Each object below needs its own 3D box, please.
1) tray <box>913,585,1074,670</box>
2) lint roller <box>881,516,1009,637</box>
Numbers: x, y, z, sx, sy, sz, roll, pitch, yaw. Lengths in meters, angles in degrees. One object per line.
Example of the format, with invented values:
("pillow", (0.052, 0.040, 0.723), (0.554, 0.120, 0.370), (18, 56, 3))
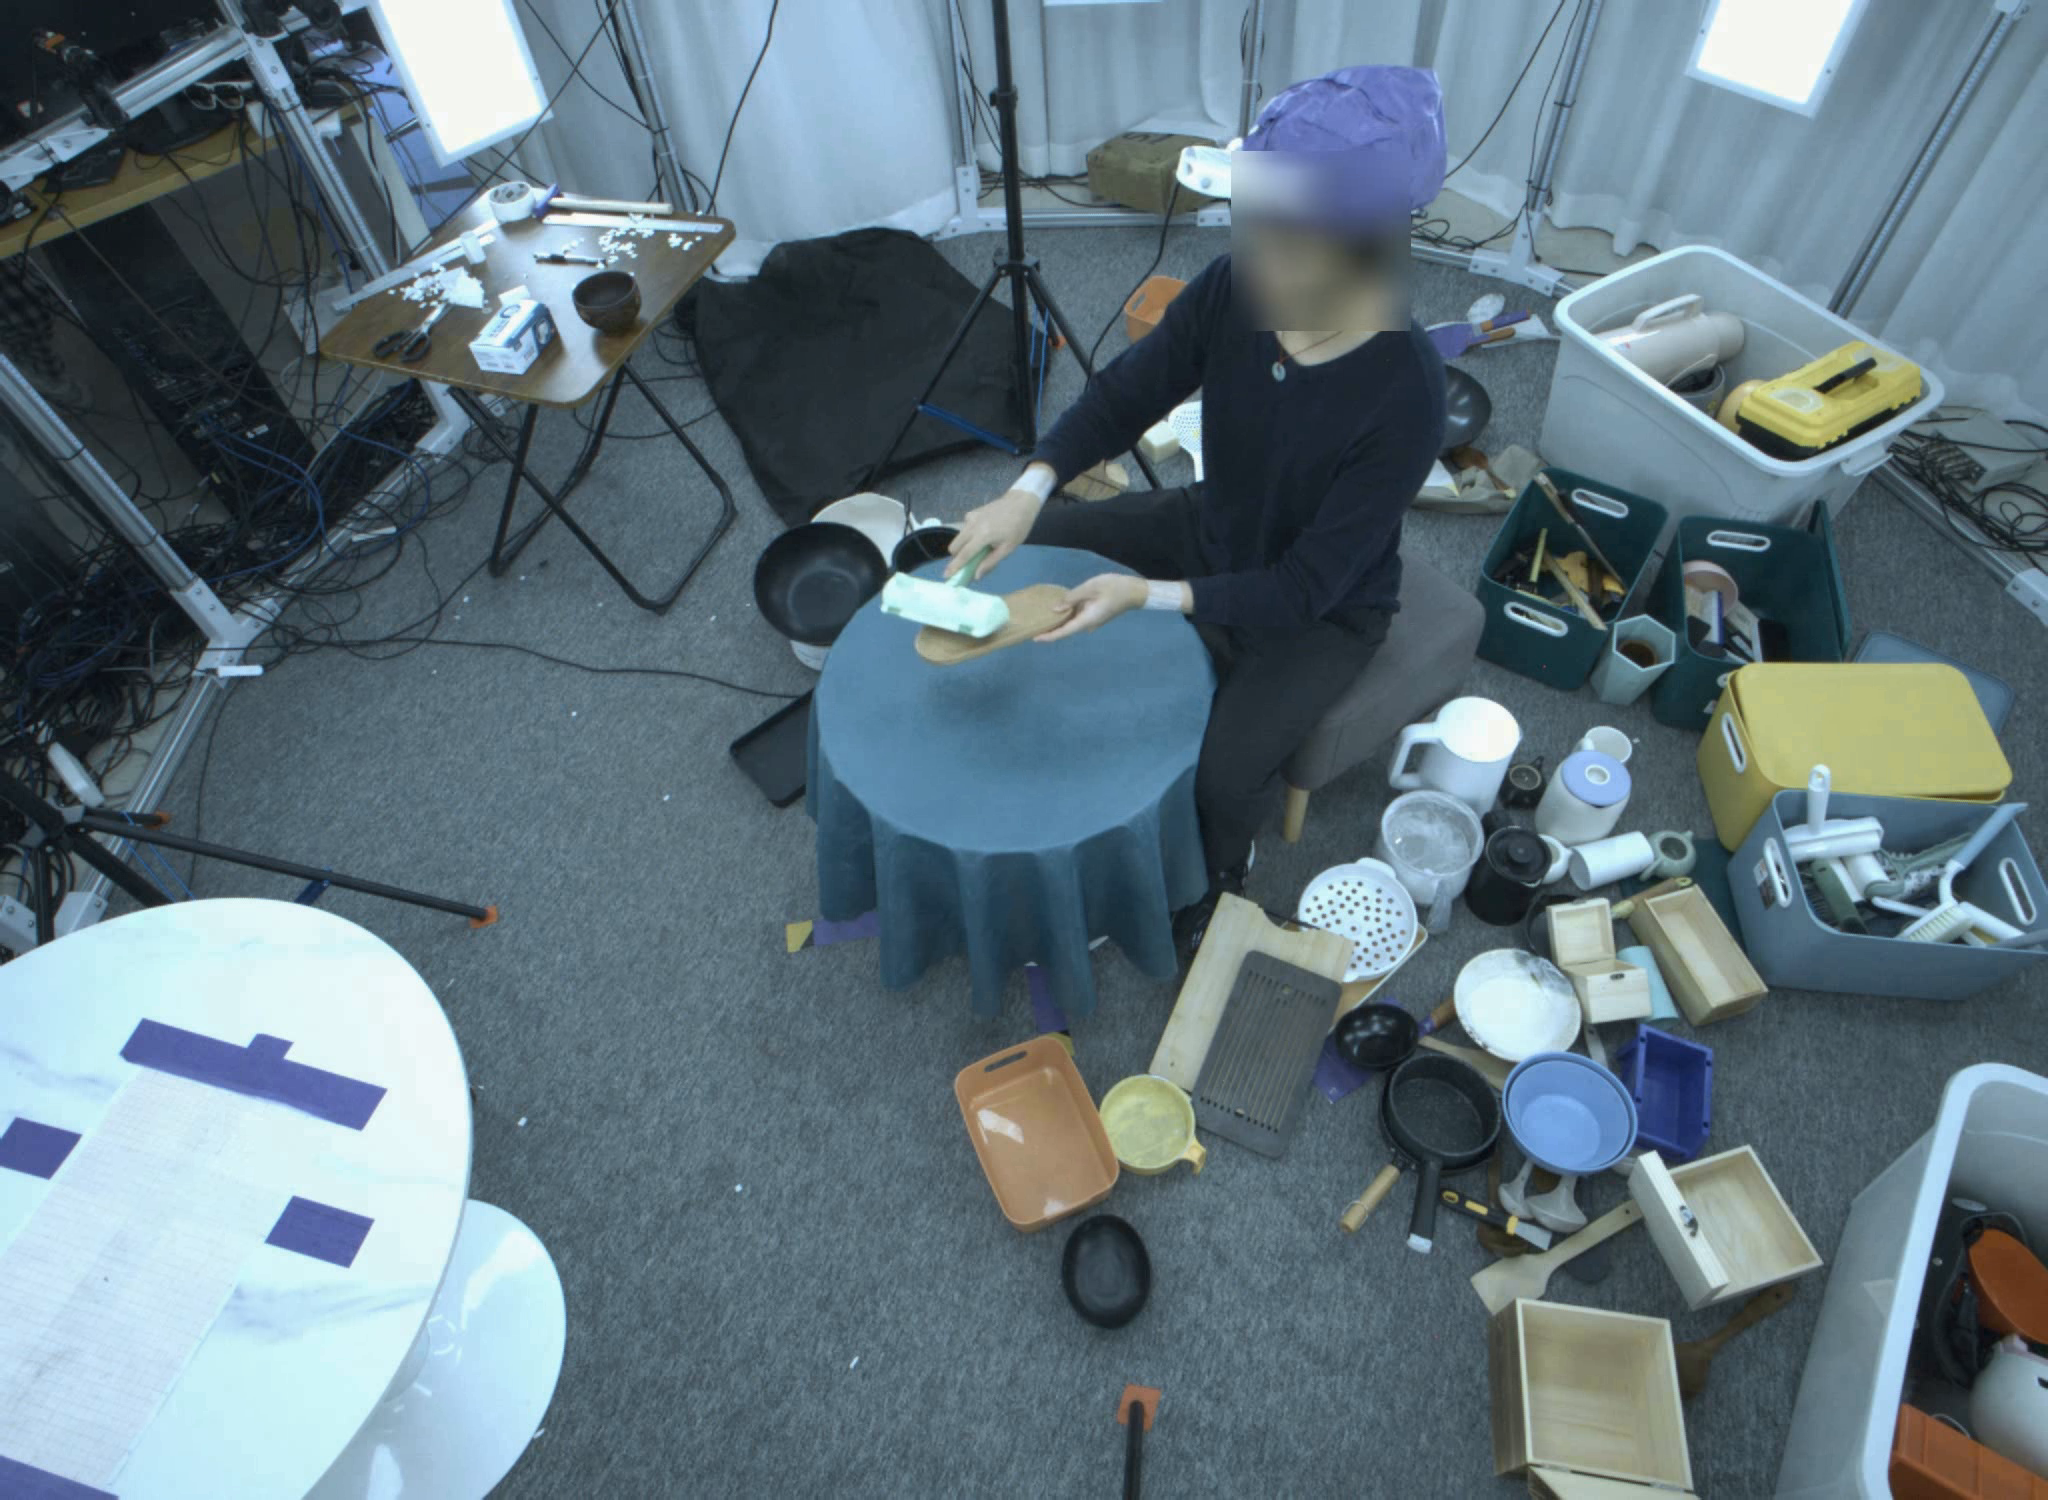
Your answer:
("tray", (-0.041, -0.169, 1.691), (0.232, 0.020, 0.099), (-22, 42, -8))
("lint roller", (-0.096, -0.256, 1.693), (0.194, 0.084, 0.183), (17, 82, 33))
